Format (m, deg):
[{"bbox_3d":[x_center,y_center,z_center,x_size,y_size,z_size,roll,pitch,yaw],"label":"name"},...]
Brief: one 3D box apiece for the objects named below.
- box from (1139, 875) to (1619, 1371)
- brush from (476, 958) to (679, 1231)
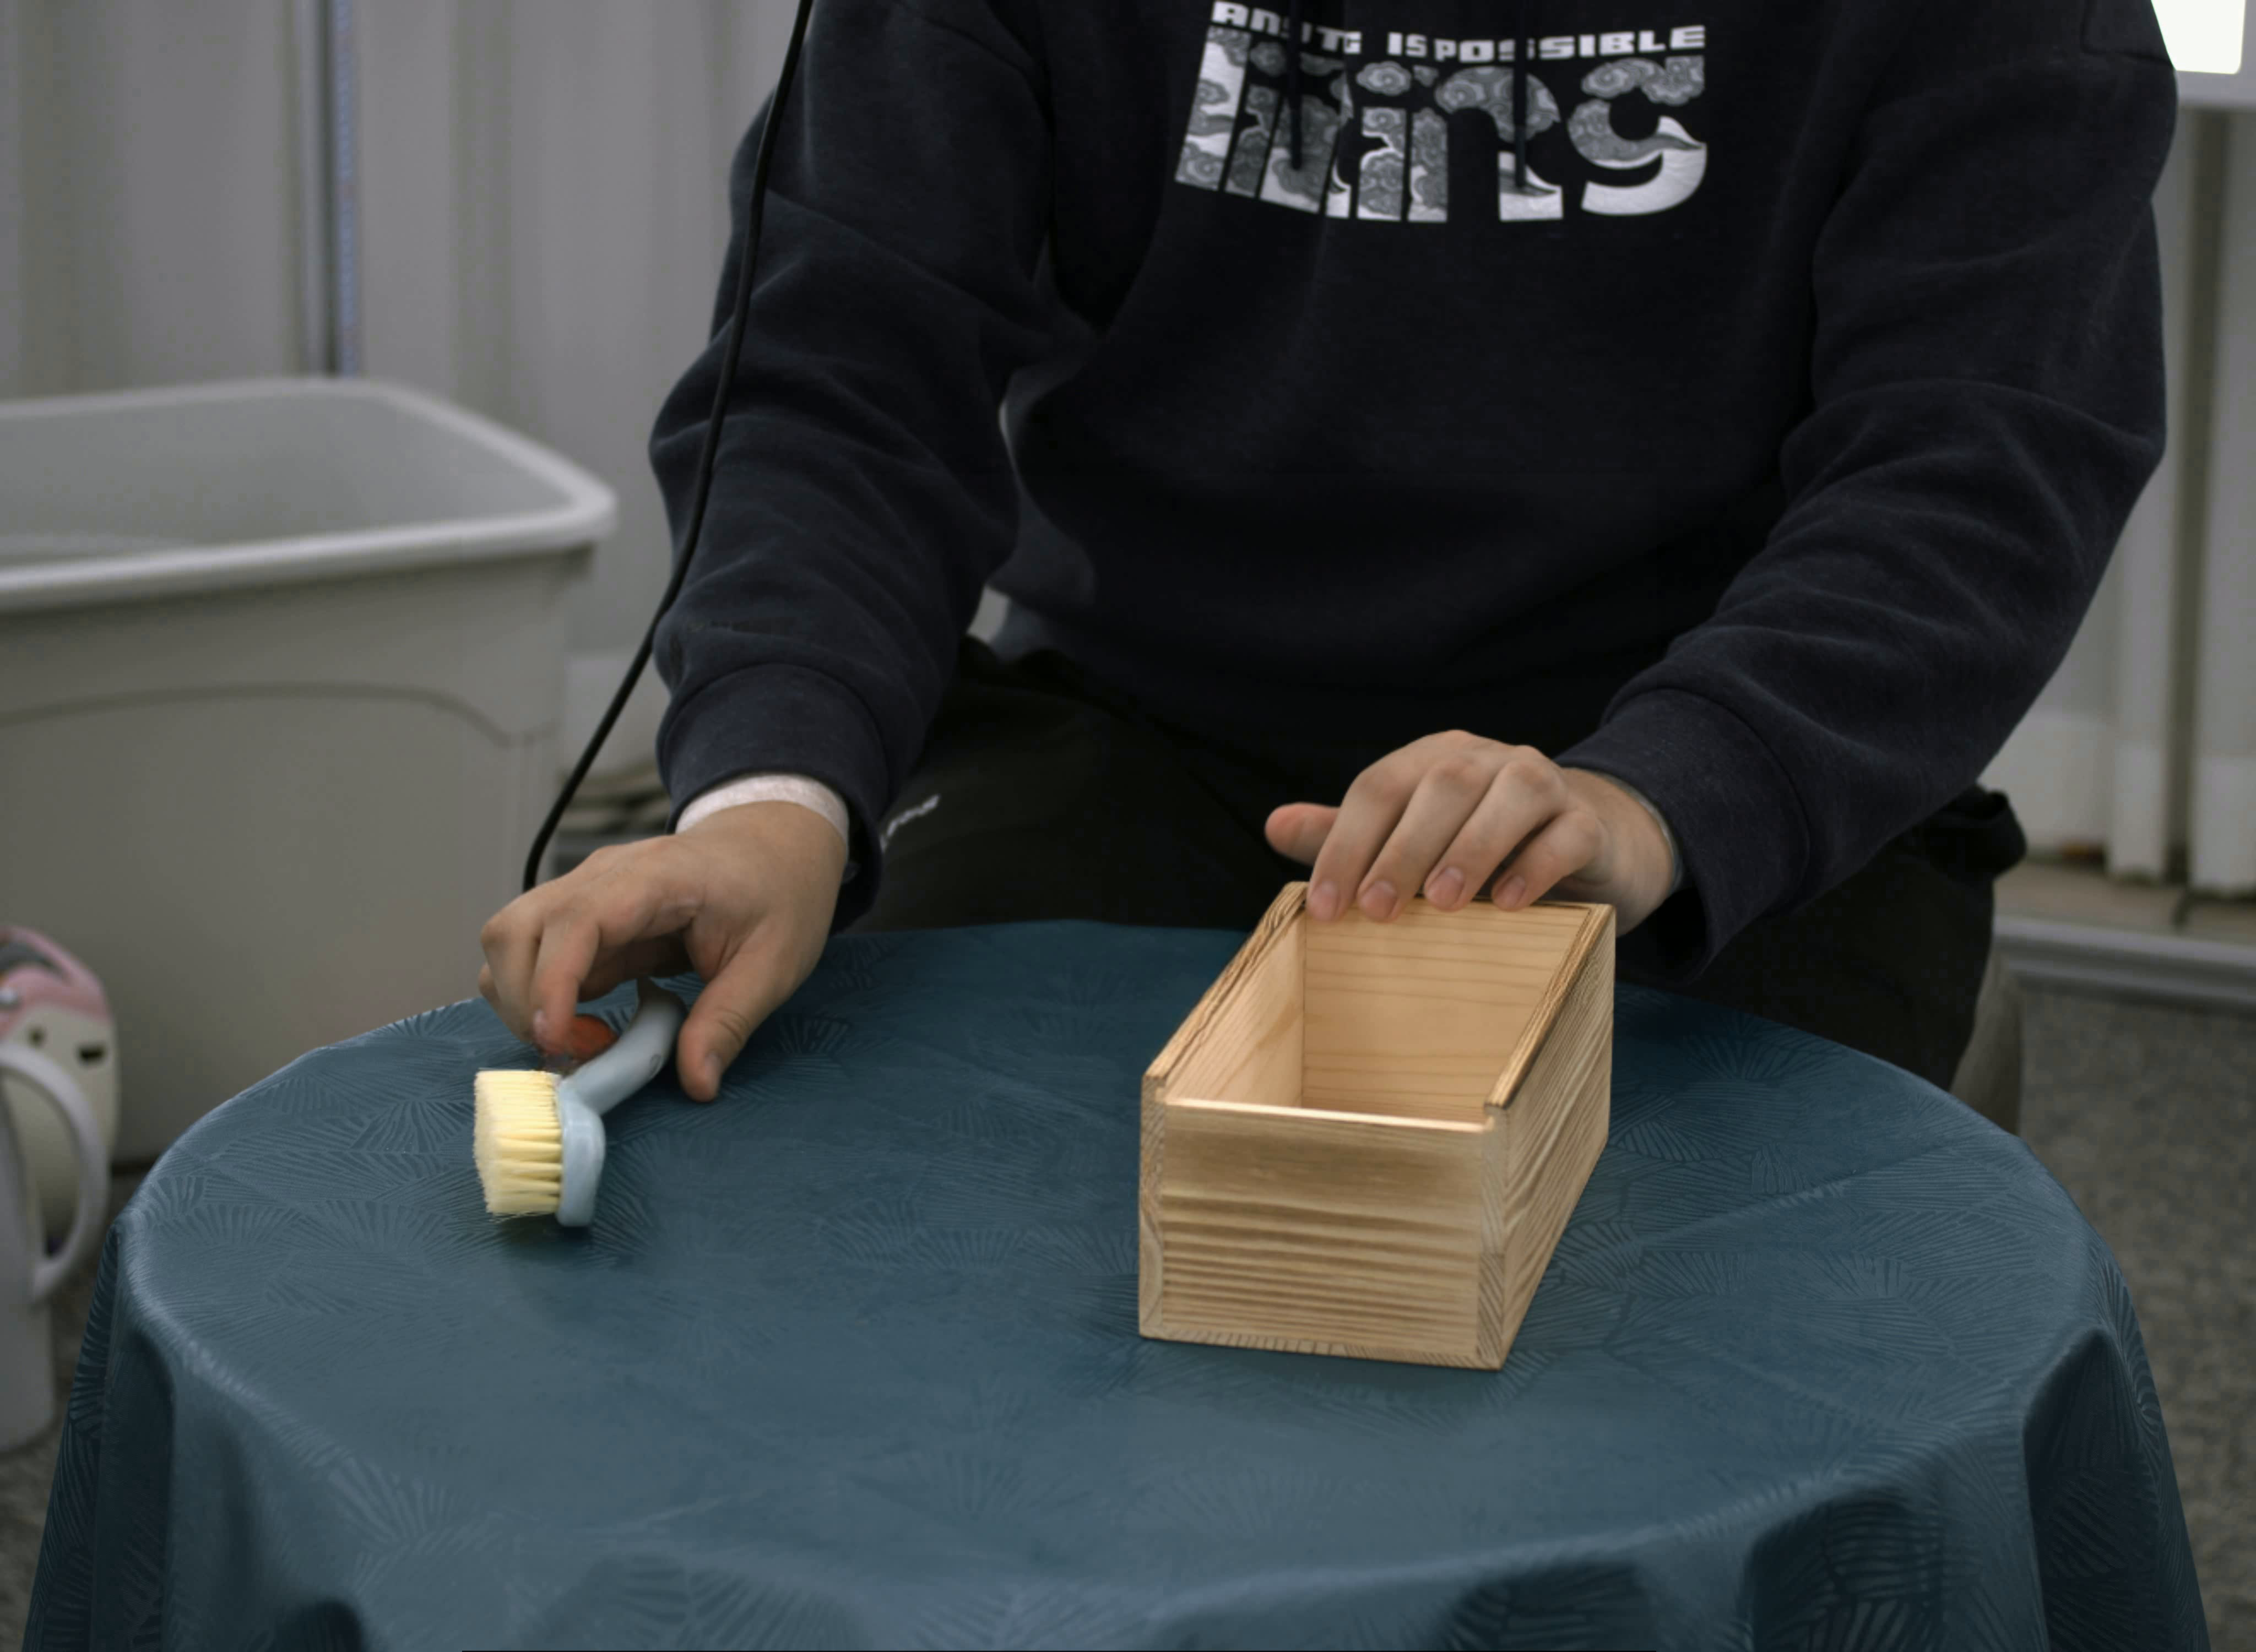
[{"bbox_3d":[0.079,0.085,1.579,0.107,0.081,0.211,4,16,12],"label":"box"},{"bbox_3d":[-0.175,0.079,1.669,0.049,0.038,0.227,0,15,2],"label":"brush"}]
